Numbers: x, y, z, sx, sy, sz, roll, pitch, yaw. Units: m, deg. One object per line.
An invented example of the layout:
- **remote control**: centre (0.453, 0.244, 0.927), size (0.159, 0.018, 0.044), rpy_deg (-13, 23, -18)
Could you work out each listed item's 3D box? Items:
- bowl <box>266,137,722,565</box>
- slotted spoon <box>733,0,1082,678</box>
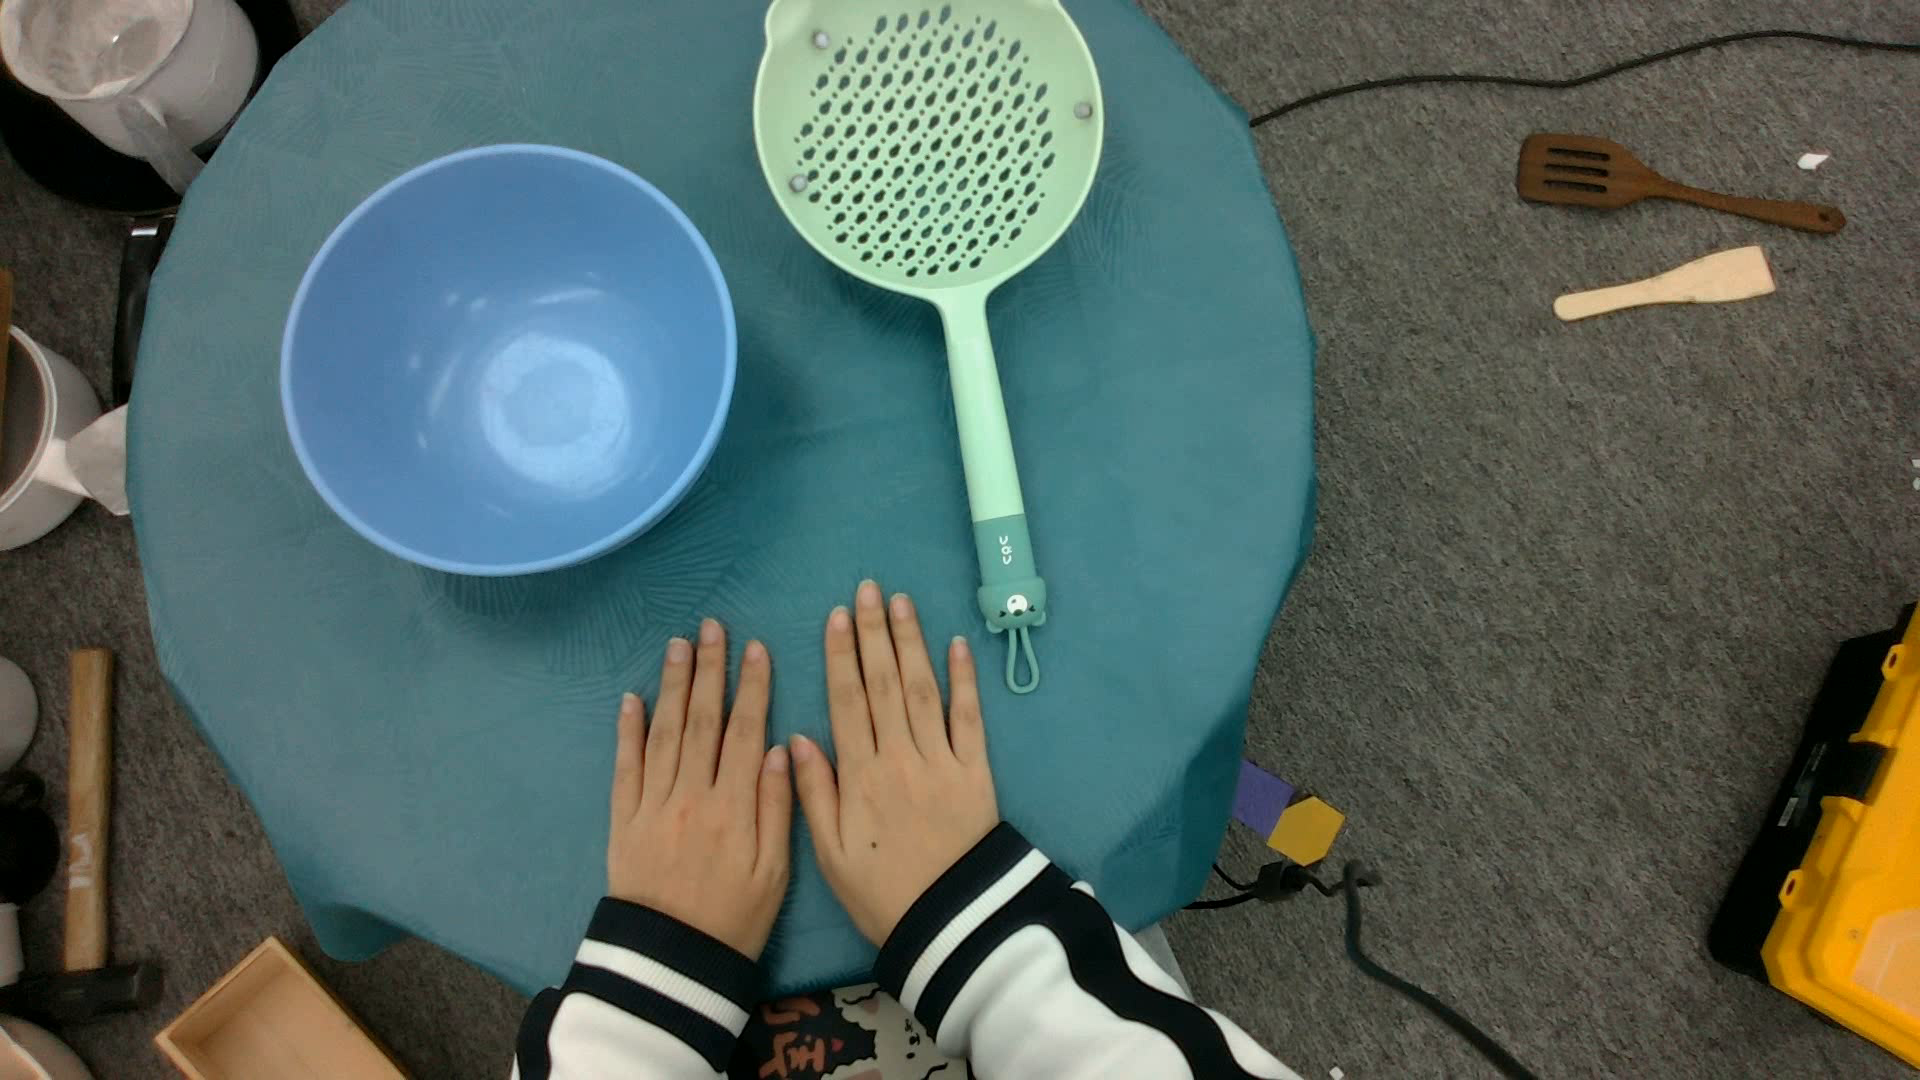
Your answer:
- **bowl**: centre (-0.204, -0.077, 0.646), size (0.196, 0.095, 0.197), rpy_deg (0, 78, -2)
- **slotted spoon**: centre (-0.008, -0.112, 0.677), size (0.169, 0.075, 0.359), rpy_deg (-10, 80, -3)
